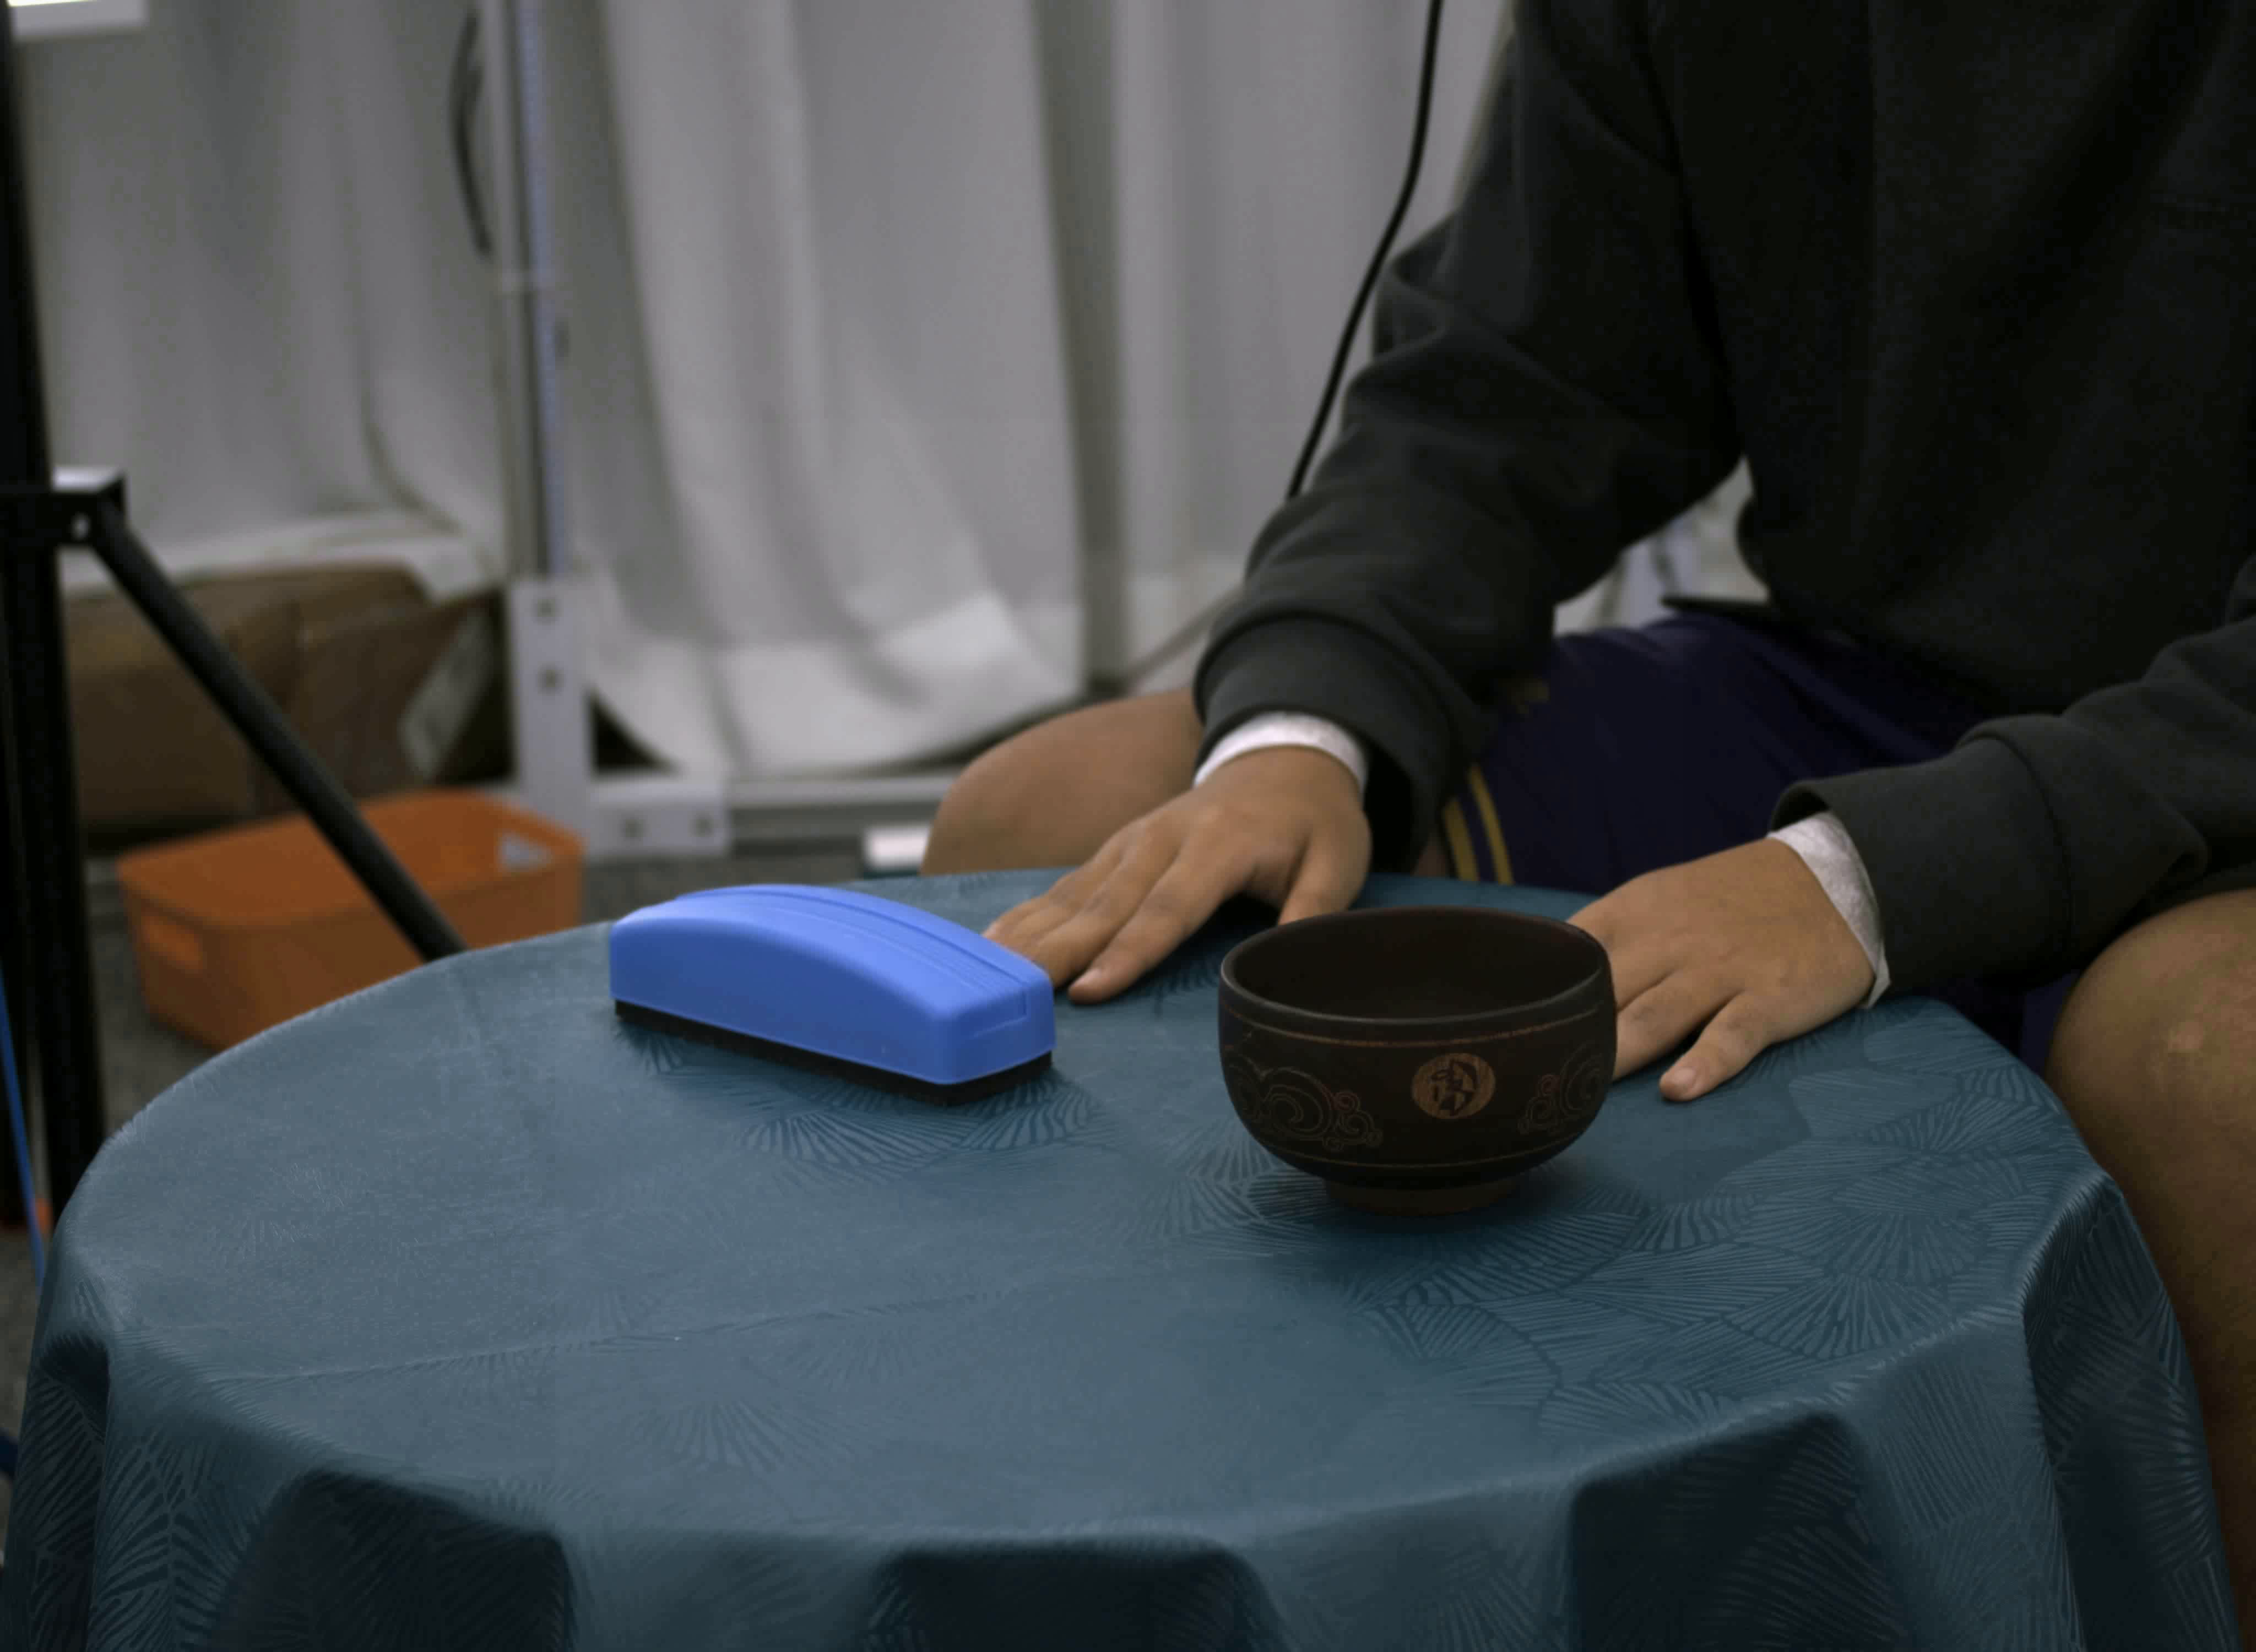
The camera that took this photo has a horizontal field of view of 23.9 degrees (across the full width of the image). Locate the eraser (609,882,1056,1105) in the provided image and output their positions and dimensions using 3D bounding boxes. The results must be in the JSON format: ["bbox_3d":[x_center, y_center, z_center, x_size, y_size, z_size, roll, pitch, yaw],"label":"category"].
[{"bbox_3d":[-0.096,0.048,1.704,0.166,0.047,0.052,12,22,41],"label":"eraser"}]

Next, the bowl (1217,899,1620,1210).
[{"bbox_3d":[0.085,0.070,1.544,0.117,0.070,0.118,-3,14,-1],"label":"bowl"}]
